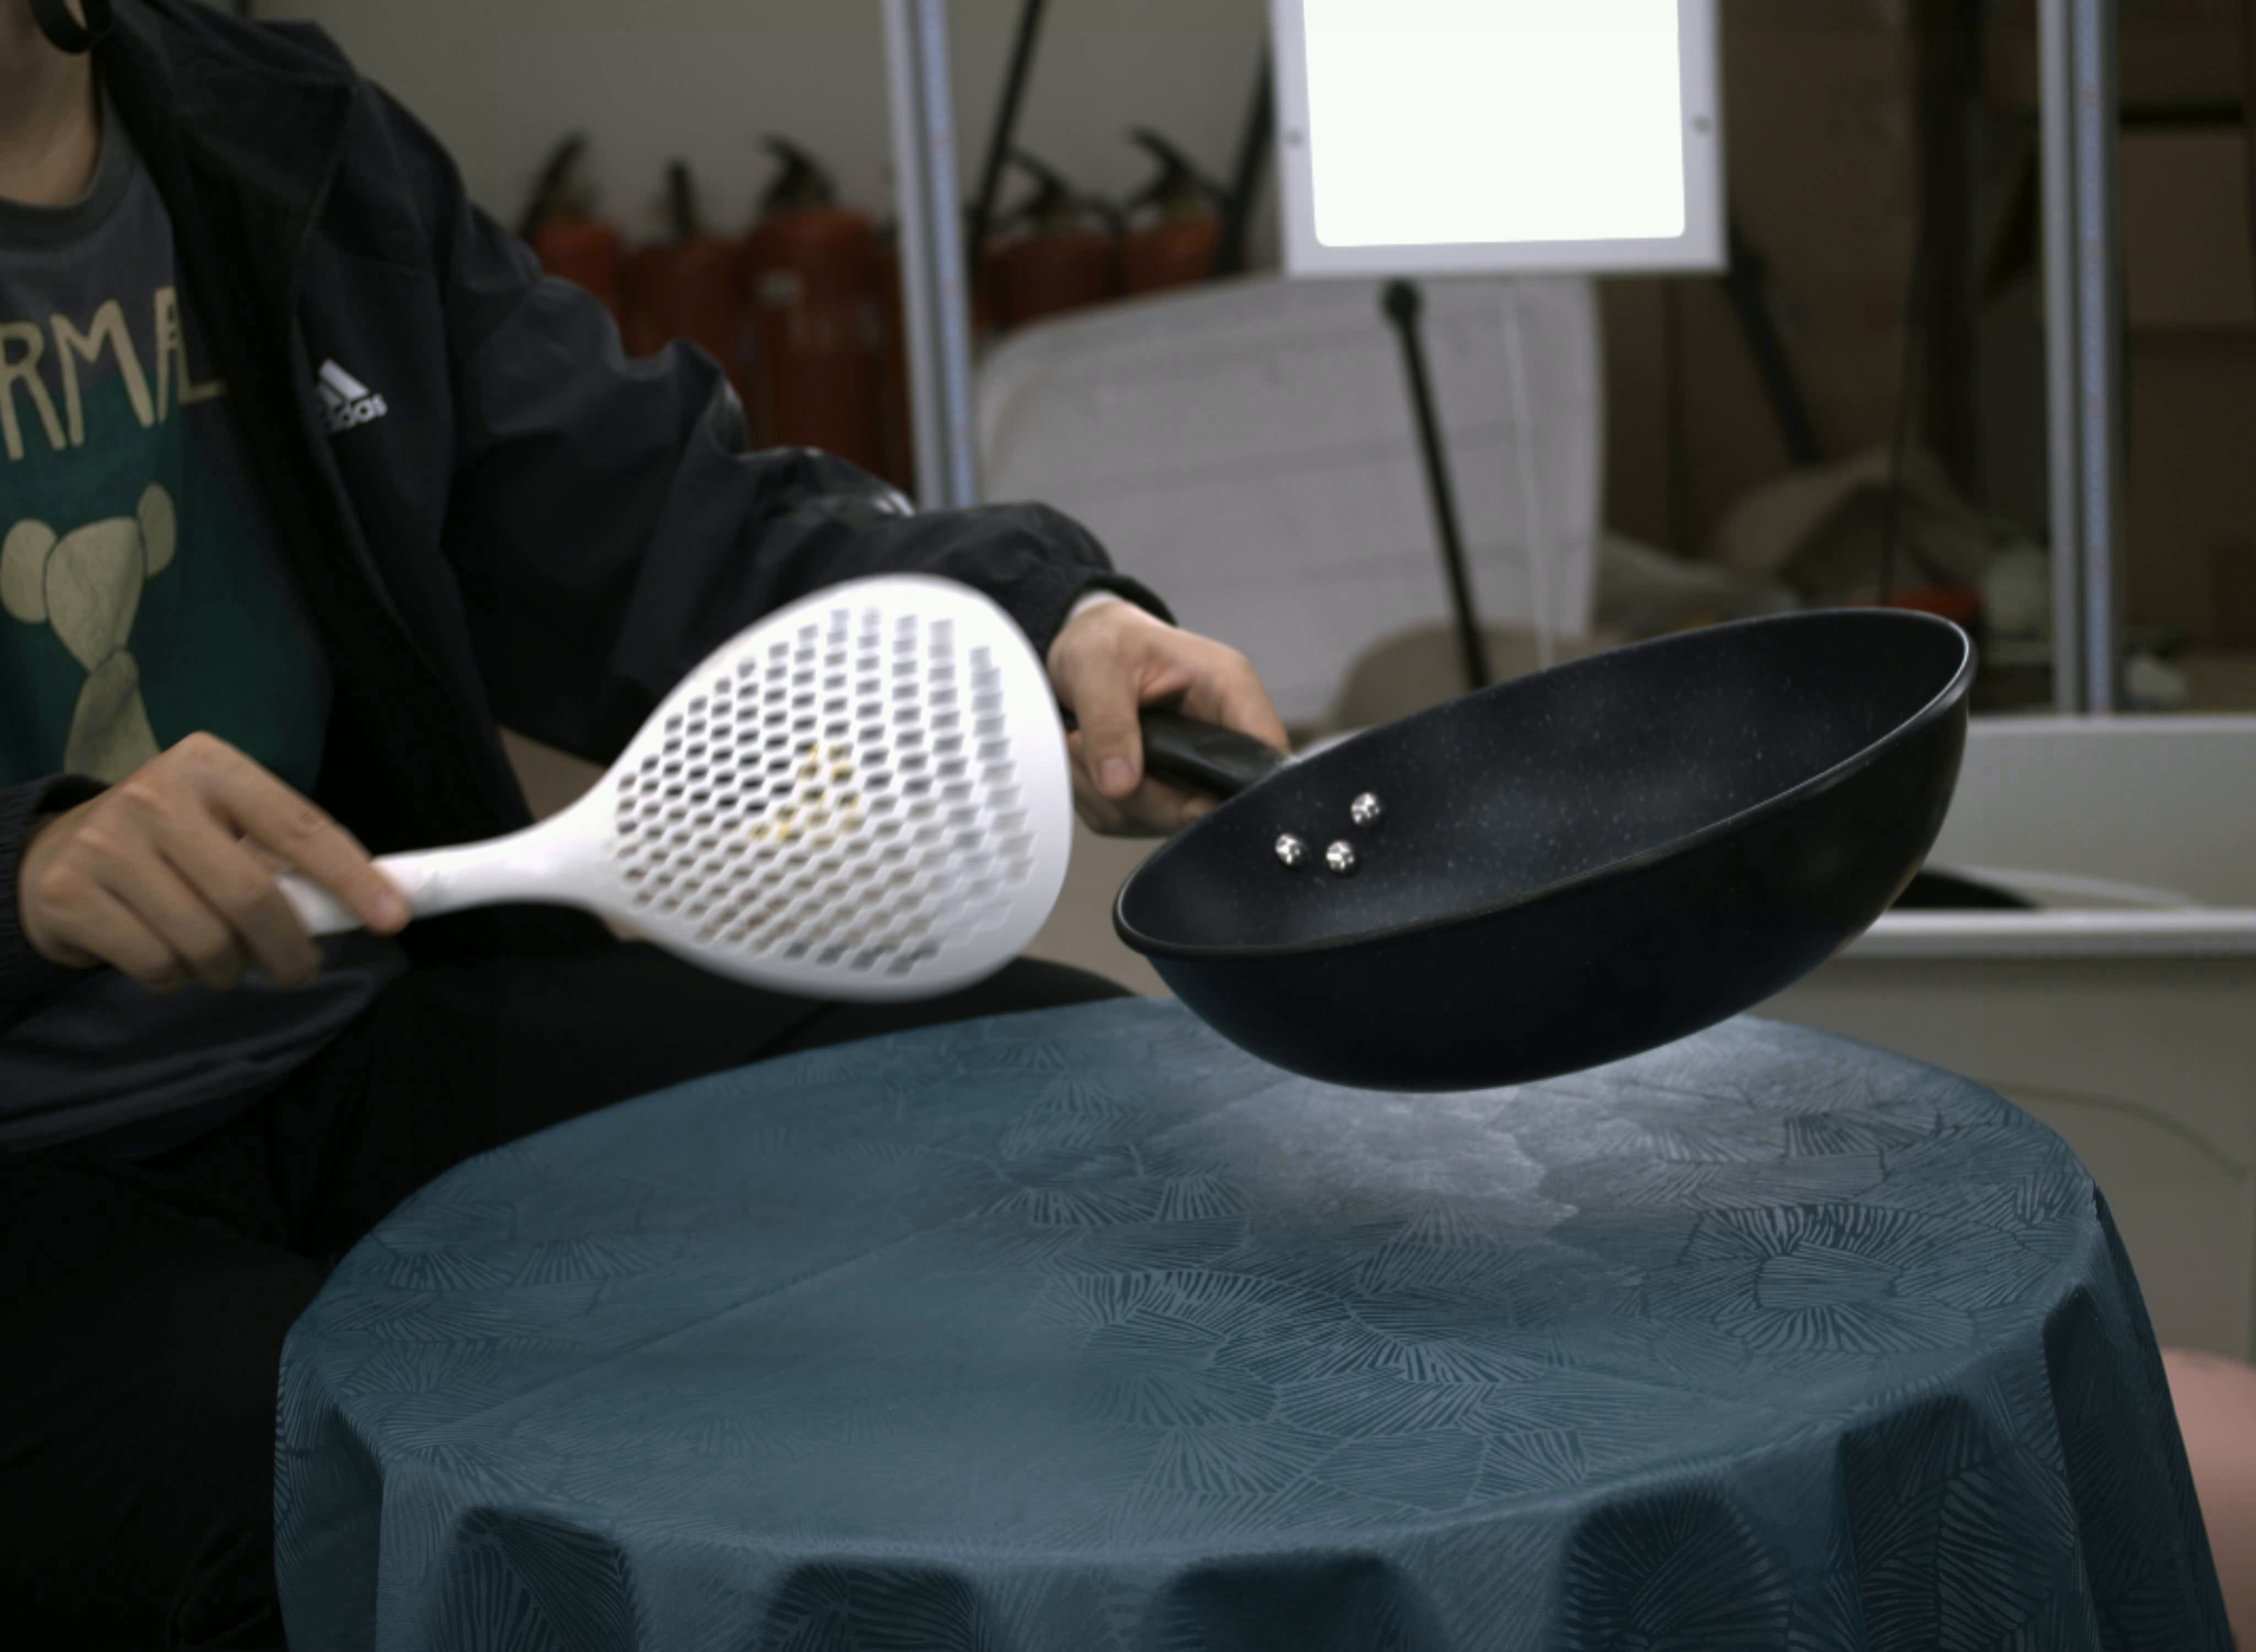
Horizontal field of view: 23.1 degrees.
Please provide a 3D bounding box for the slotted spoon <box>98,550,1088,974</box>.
[{"bbox_3d":[-0.181,0.003,1.820,0.353,0.137,0.049,-12,1,24],"label":"slotted spoon"}]

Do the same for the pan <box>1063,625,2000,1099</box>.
[{"bbox_3d":[0.111,0.009,1.943,0.304,0.112,0.486,-24,14,-28],"label":"pan"}]
